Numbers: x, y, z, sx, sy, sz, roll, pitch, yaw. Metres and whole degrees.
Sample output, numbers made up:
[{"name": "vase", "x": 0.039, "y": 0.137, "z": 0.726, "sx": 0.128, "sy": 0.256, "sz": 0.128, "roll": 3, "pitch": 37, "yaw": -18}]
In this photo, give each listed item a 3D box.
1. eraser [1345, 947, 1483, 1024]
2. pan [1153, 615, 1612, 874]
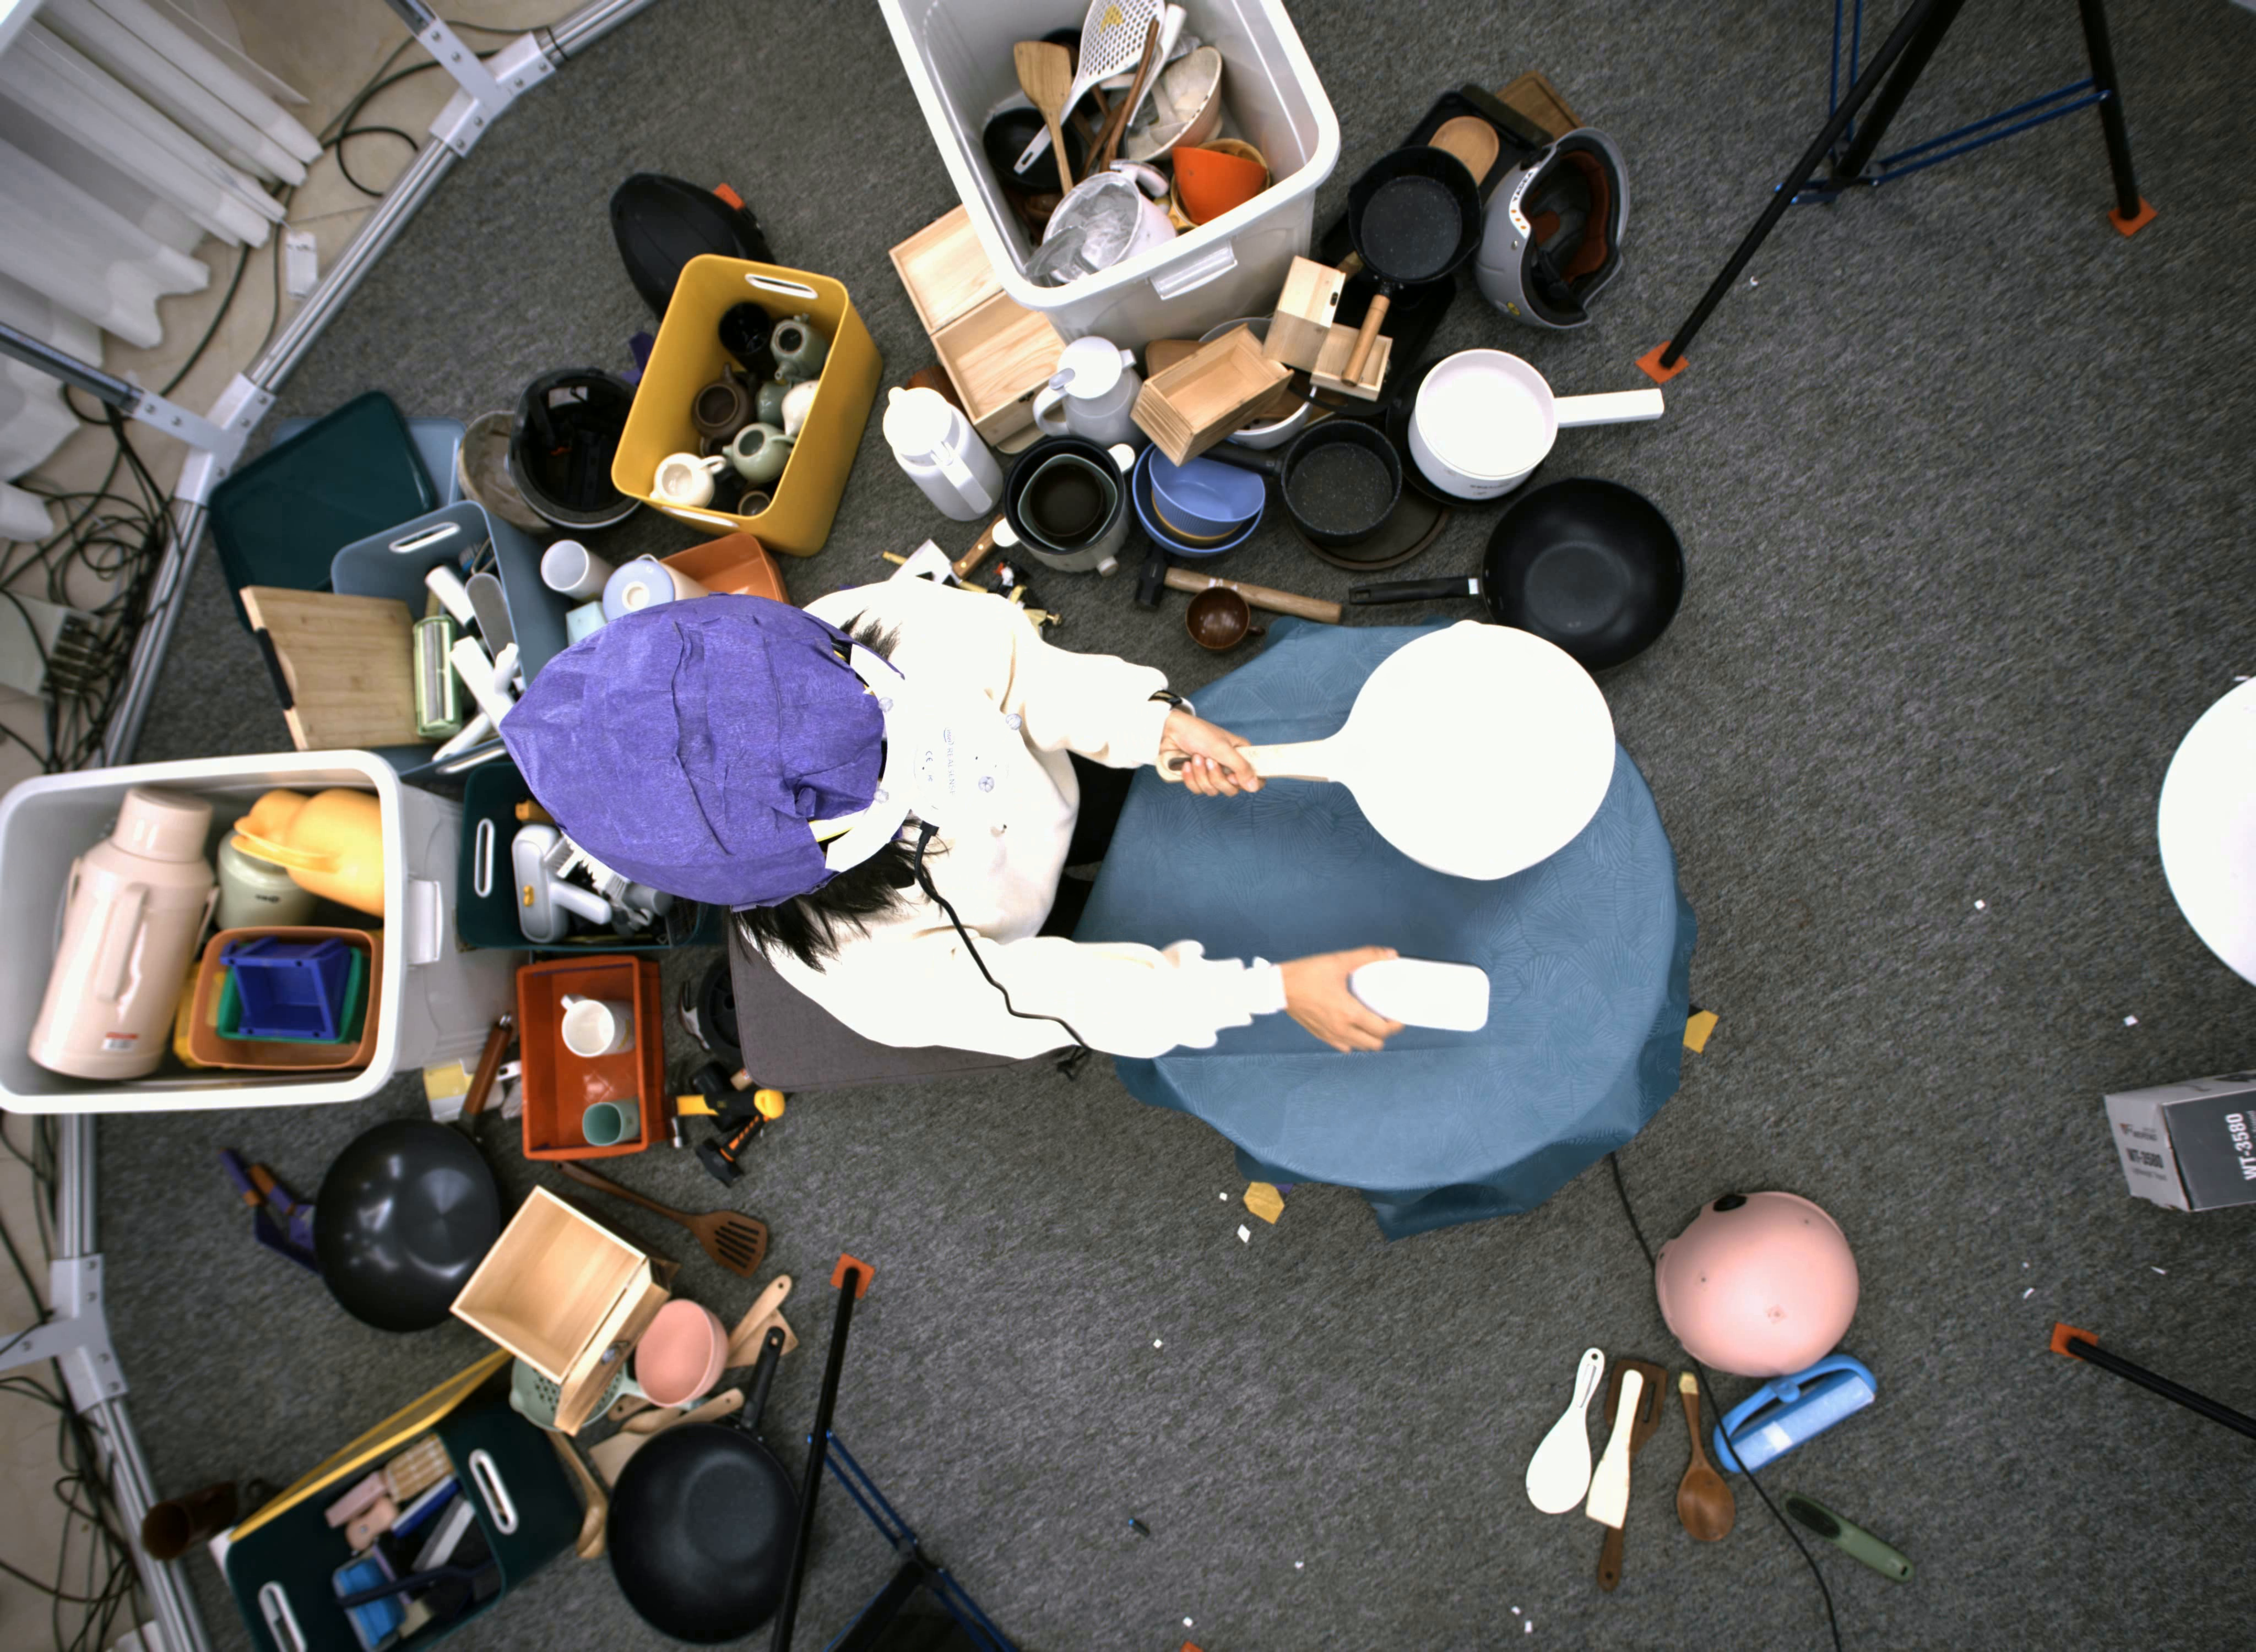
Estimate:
[{"name": "eraser", "x": 0.276, "y": 0.151, "z": 1.336, "sx": 0.132, "sy": 0.034, "sz": 0.064, "roll": 6, "pitch": 113, "yaw": 17}, {"name": "pan", "x": 0.247, "y": -0.066, "z": 1.357, "sx": 0.437, "sy": 0.103, "sz": 0.260, "roll": -5, "pitch": 75, "yaw": 13}]
